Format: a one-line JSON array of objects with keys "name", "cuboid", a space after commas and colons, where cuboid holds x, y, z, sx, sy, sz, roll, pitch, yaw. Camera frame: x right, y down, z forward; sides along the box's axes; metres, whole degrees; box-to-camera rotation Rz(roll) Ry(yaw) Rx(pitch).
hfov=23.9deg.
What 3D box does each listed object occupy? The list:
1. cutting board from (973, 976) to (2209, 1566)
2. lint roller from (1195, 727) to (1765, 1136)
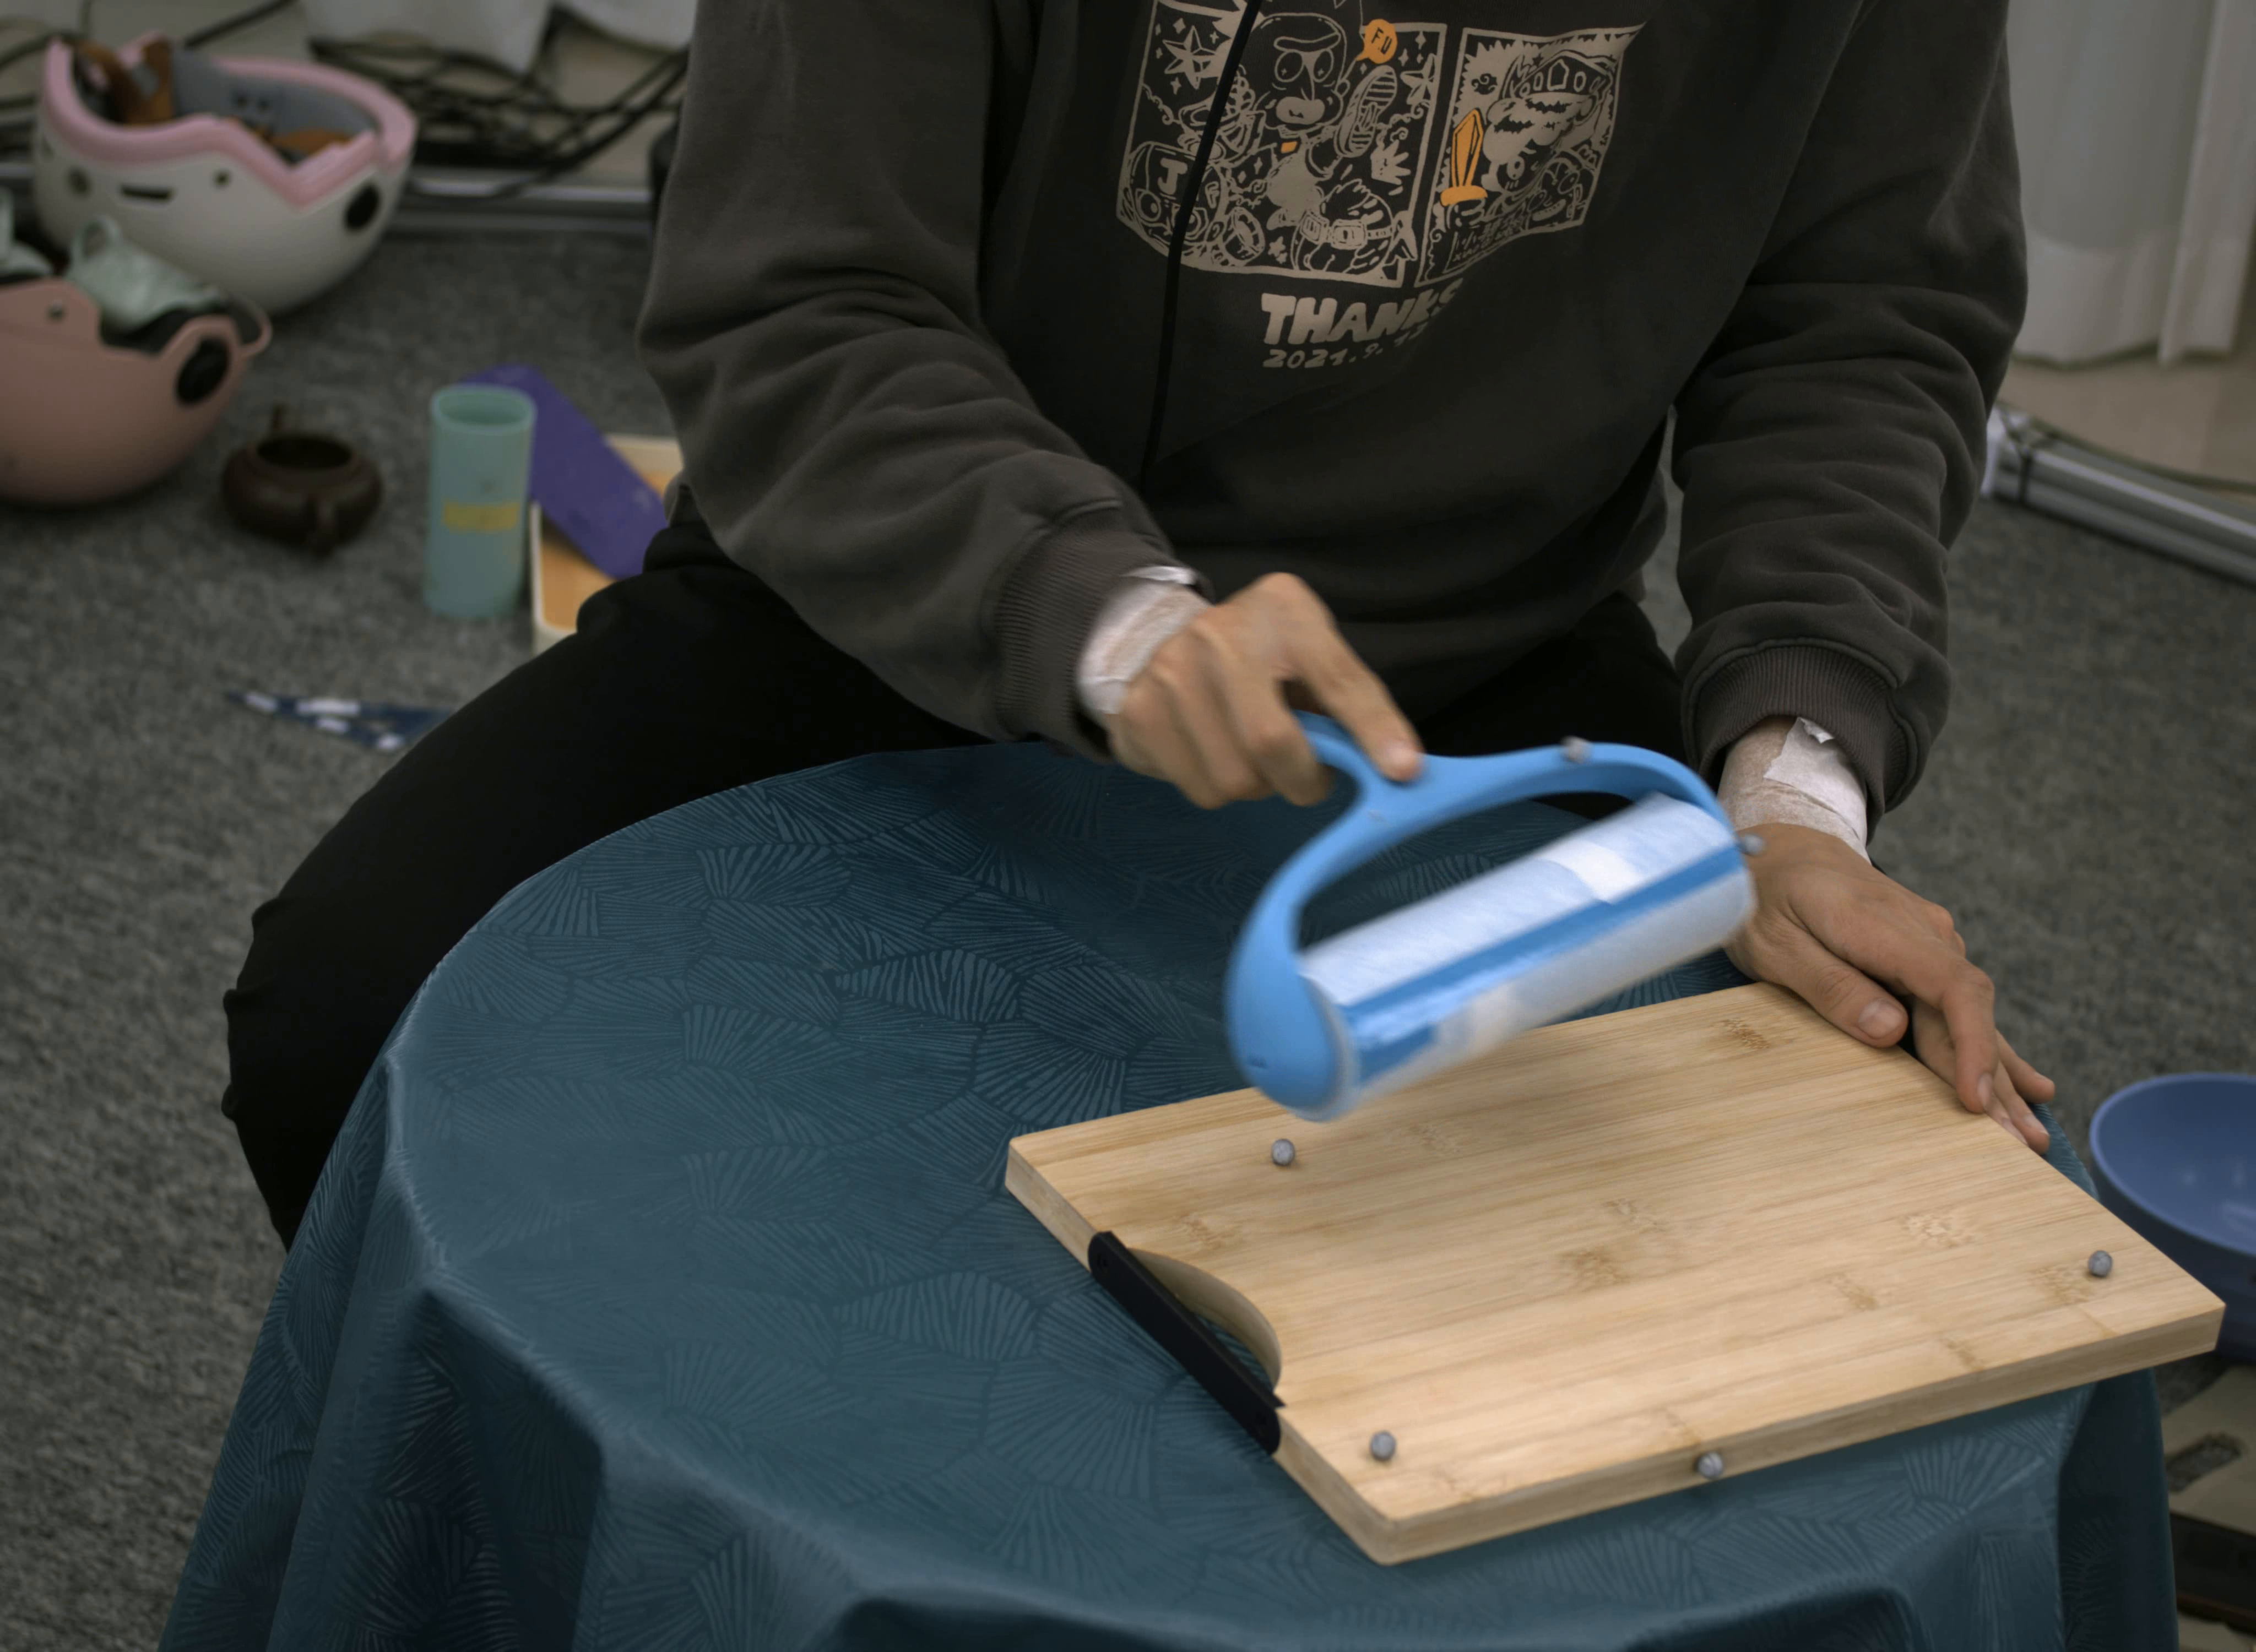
[{"name": "cutting board", "cuboid": [0.156, 0.141, 1.785, 0.346, 0.023, 0.253, -10, 31, -30]}, {"name": "lint roller", "cuboid": [0.092, 0.010, 1.798, 0.228, 0.067, 0.181, -26, 57, -40]}]
